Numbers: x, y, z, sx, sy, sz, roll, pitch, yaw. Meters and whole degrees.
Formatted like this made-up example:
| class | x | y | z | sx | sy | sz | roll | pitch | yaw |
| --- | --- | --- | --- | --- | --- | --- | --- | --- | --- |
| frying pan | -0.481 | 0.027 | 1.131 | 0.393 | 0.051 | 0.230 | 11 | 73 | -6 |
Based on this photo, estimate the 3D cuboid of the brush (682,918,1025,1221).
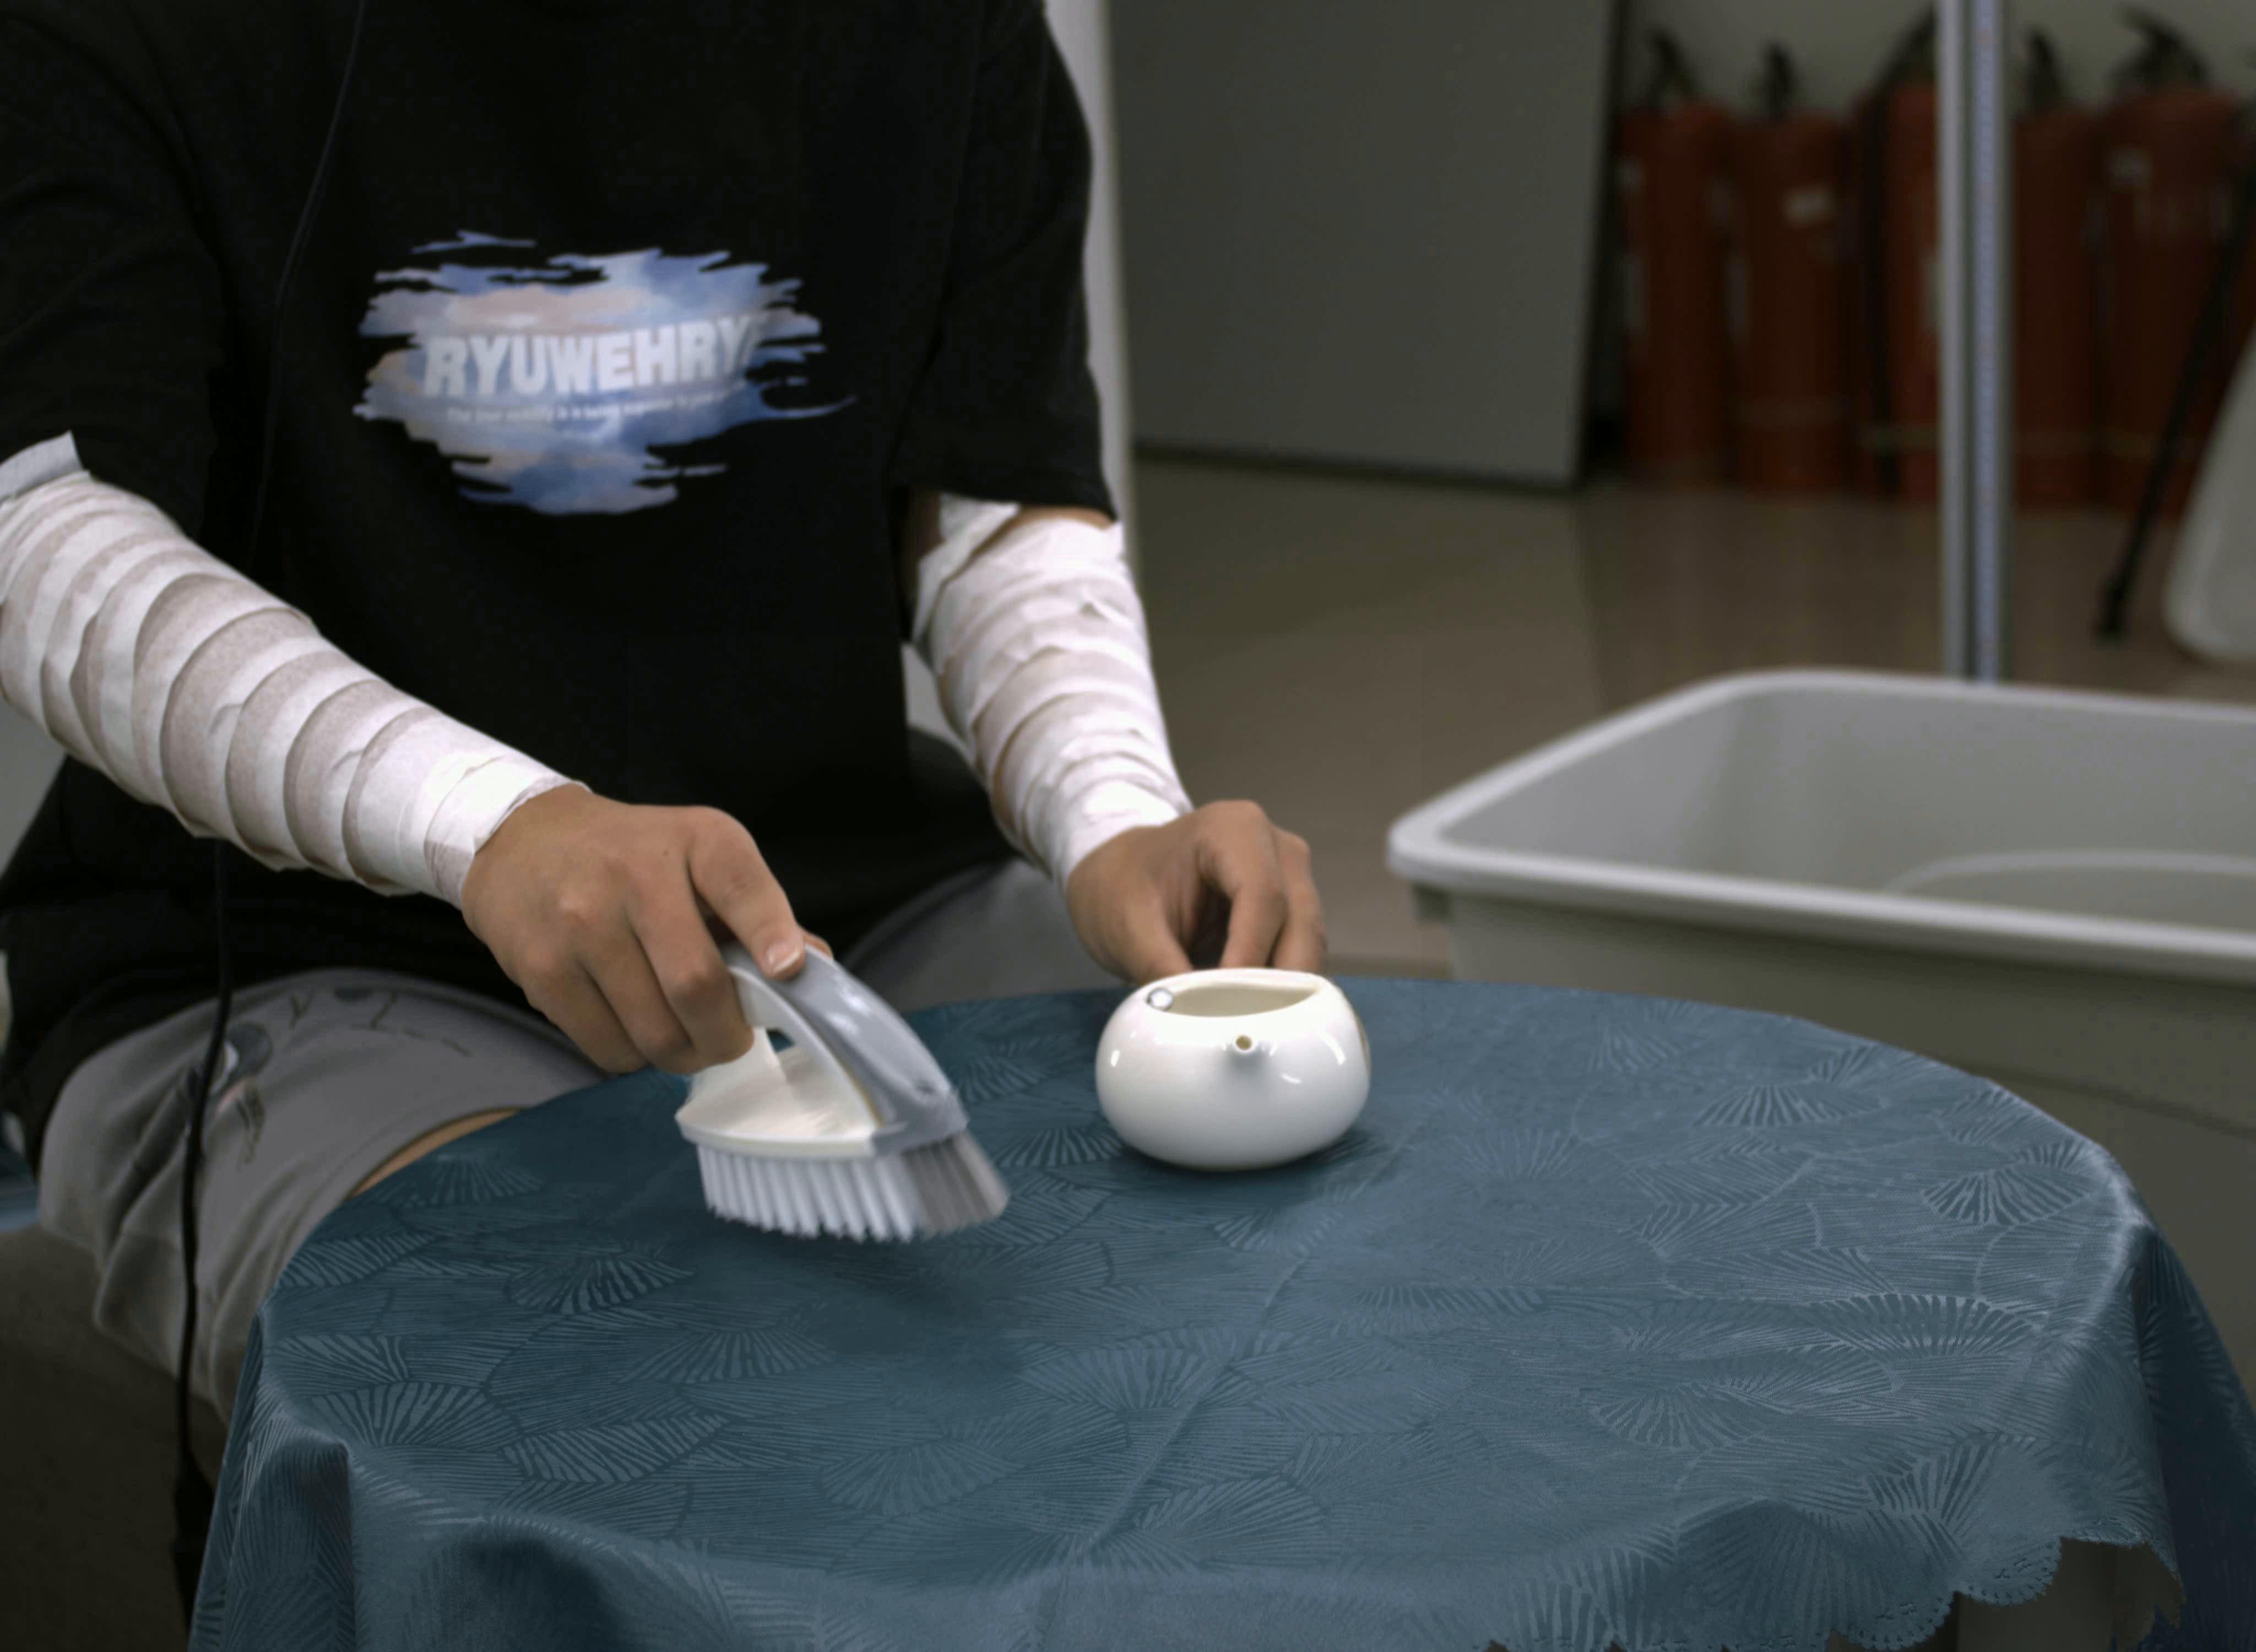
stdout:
| class | x | y | z | sx | sy | sz | roll | pitch | yaw |
| --- | --- | --- | --- | --- | --- | --- | --- | --- | --- |
| brush | -0.090 | 0.073 | 1.696 | 0.061 | 0.094 | 0.177 | -33 | 16 | -21 |

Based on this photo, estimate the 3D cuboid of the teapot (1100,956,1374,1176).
| class | x | y | z | sx | sy | sz | roll | pitch | yaw |
| --- | --- | --- | --- | --- | --- | --- | --- | --- | --- |
| teapot | 0.035 | 0.080 | 1.816 | 0.092 | 0.057 | 0.128 | -8 | 13 | -4 |
